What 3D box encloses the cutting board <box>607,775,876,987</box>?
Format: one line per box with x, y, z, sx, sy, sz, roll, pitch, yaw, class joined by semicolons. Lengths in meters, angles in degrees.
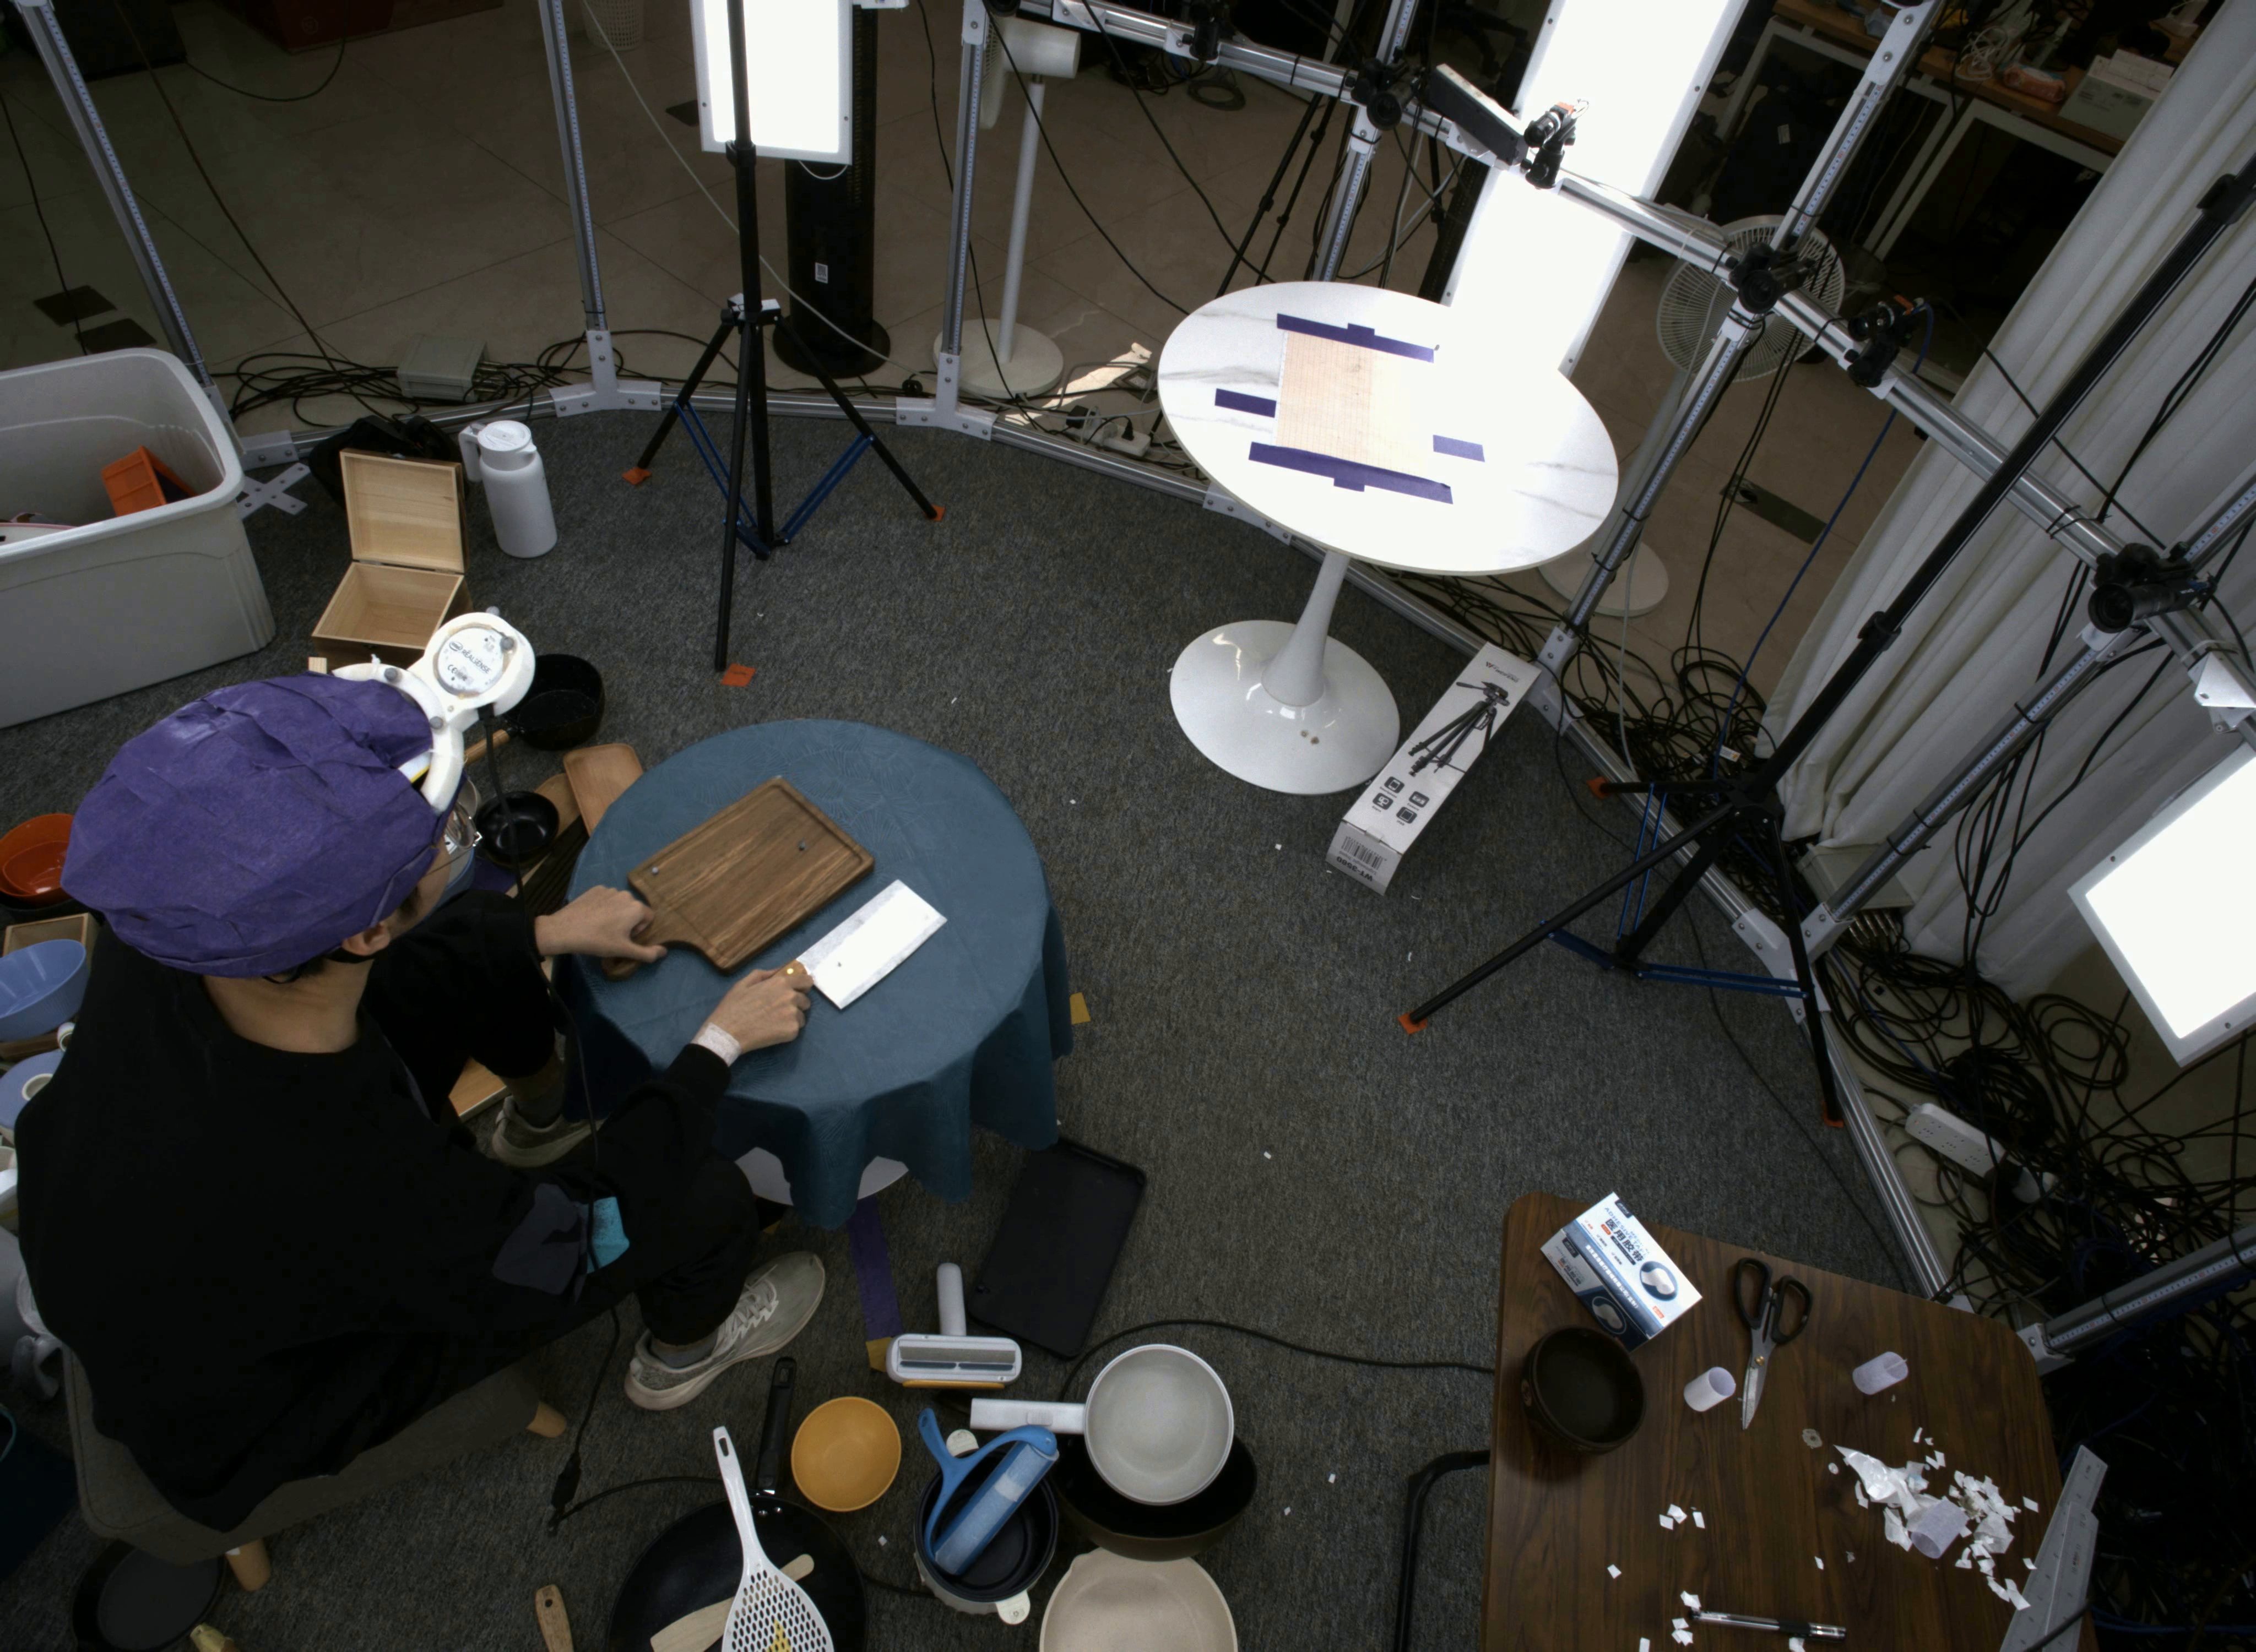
-0.508;0.082;1.617;0.197;0.023;0.352;38;54;14;cutting board

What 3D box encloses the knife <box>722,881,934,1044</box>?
-0.357;0.174;1.591;0.091;0.021;0.306;39;52;12;knife
